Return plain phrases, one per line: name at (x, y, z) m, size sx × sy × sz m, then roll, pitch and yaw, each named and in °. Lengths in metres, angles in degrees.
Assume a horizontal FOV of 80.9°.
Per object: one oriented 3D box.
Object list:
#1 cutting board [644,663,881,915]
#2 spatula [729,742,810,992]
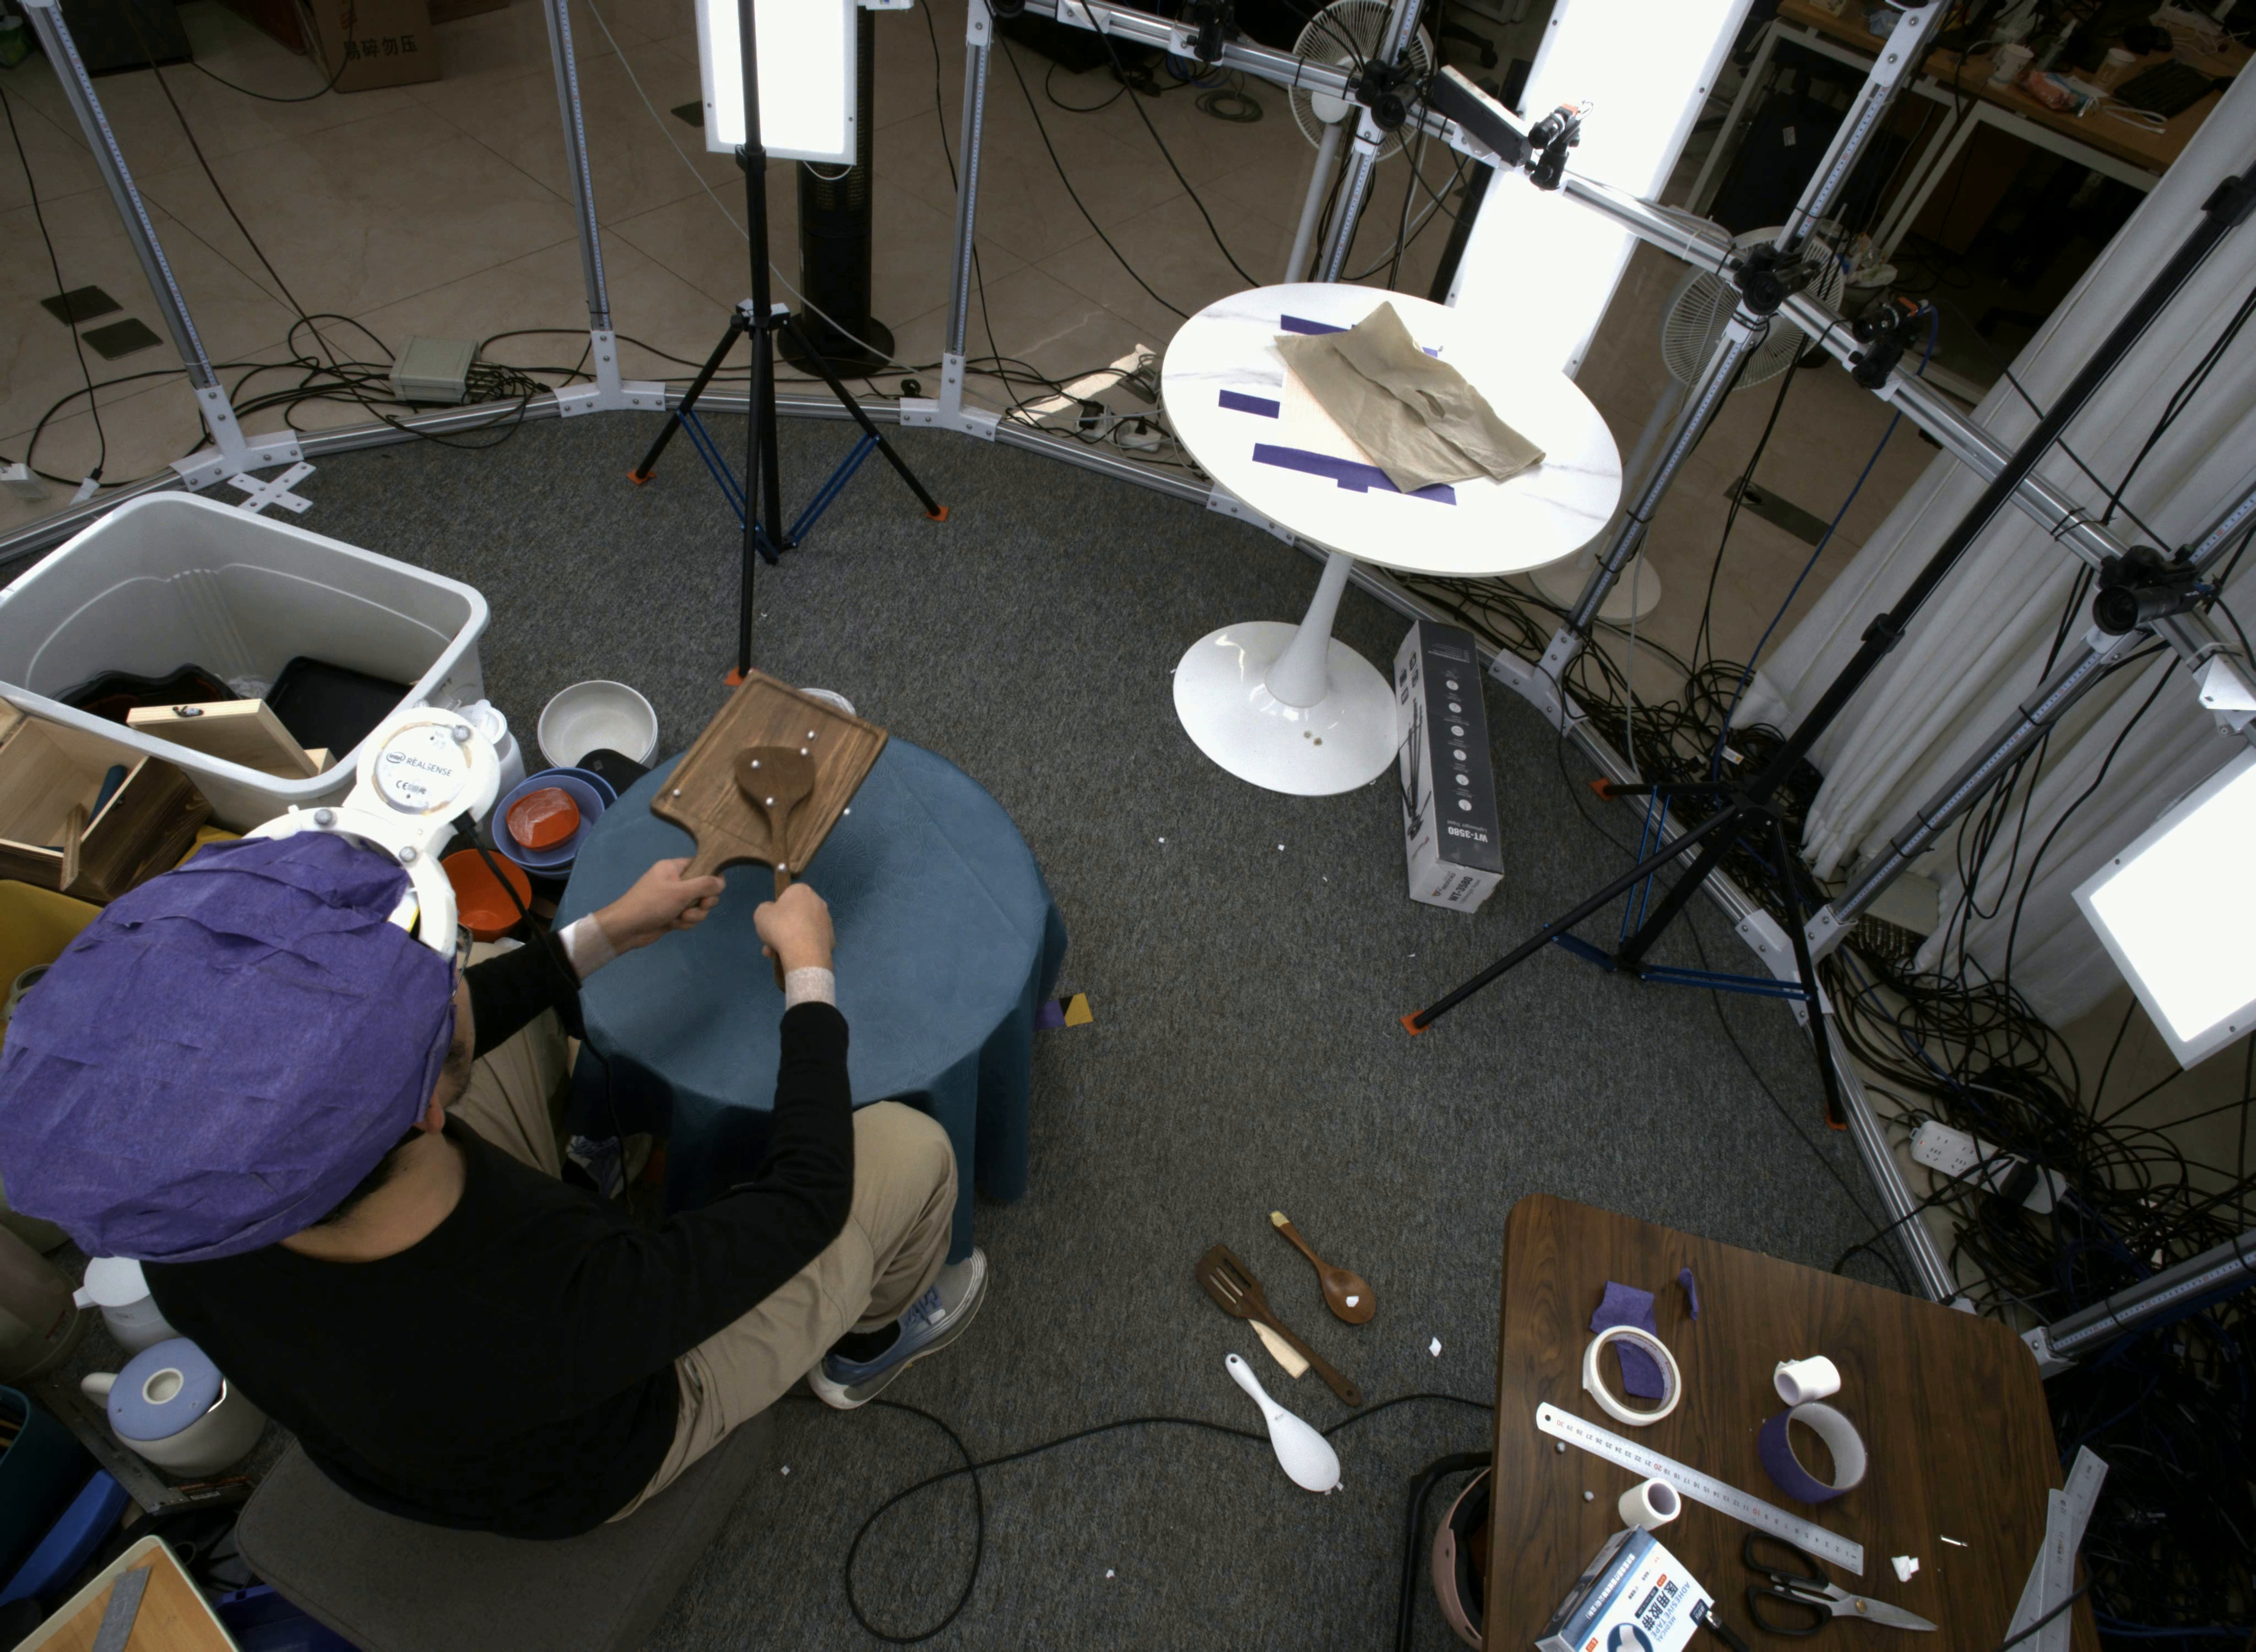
cutting board at (-0.450, -0.038, 1.529) m, size 0.200 × 0.023 × 0.349 m, roll 25°, pitch 52°, yaw -3°
spatula at (-0.393, 0.031, 1.446) m, size 0.097 × 0.016 × 0.375 m, roll 3°, pitch 43°, yaw -22°
